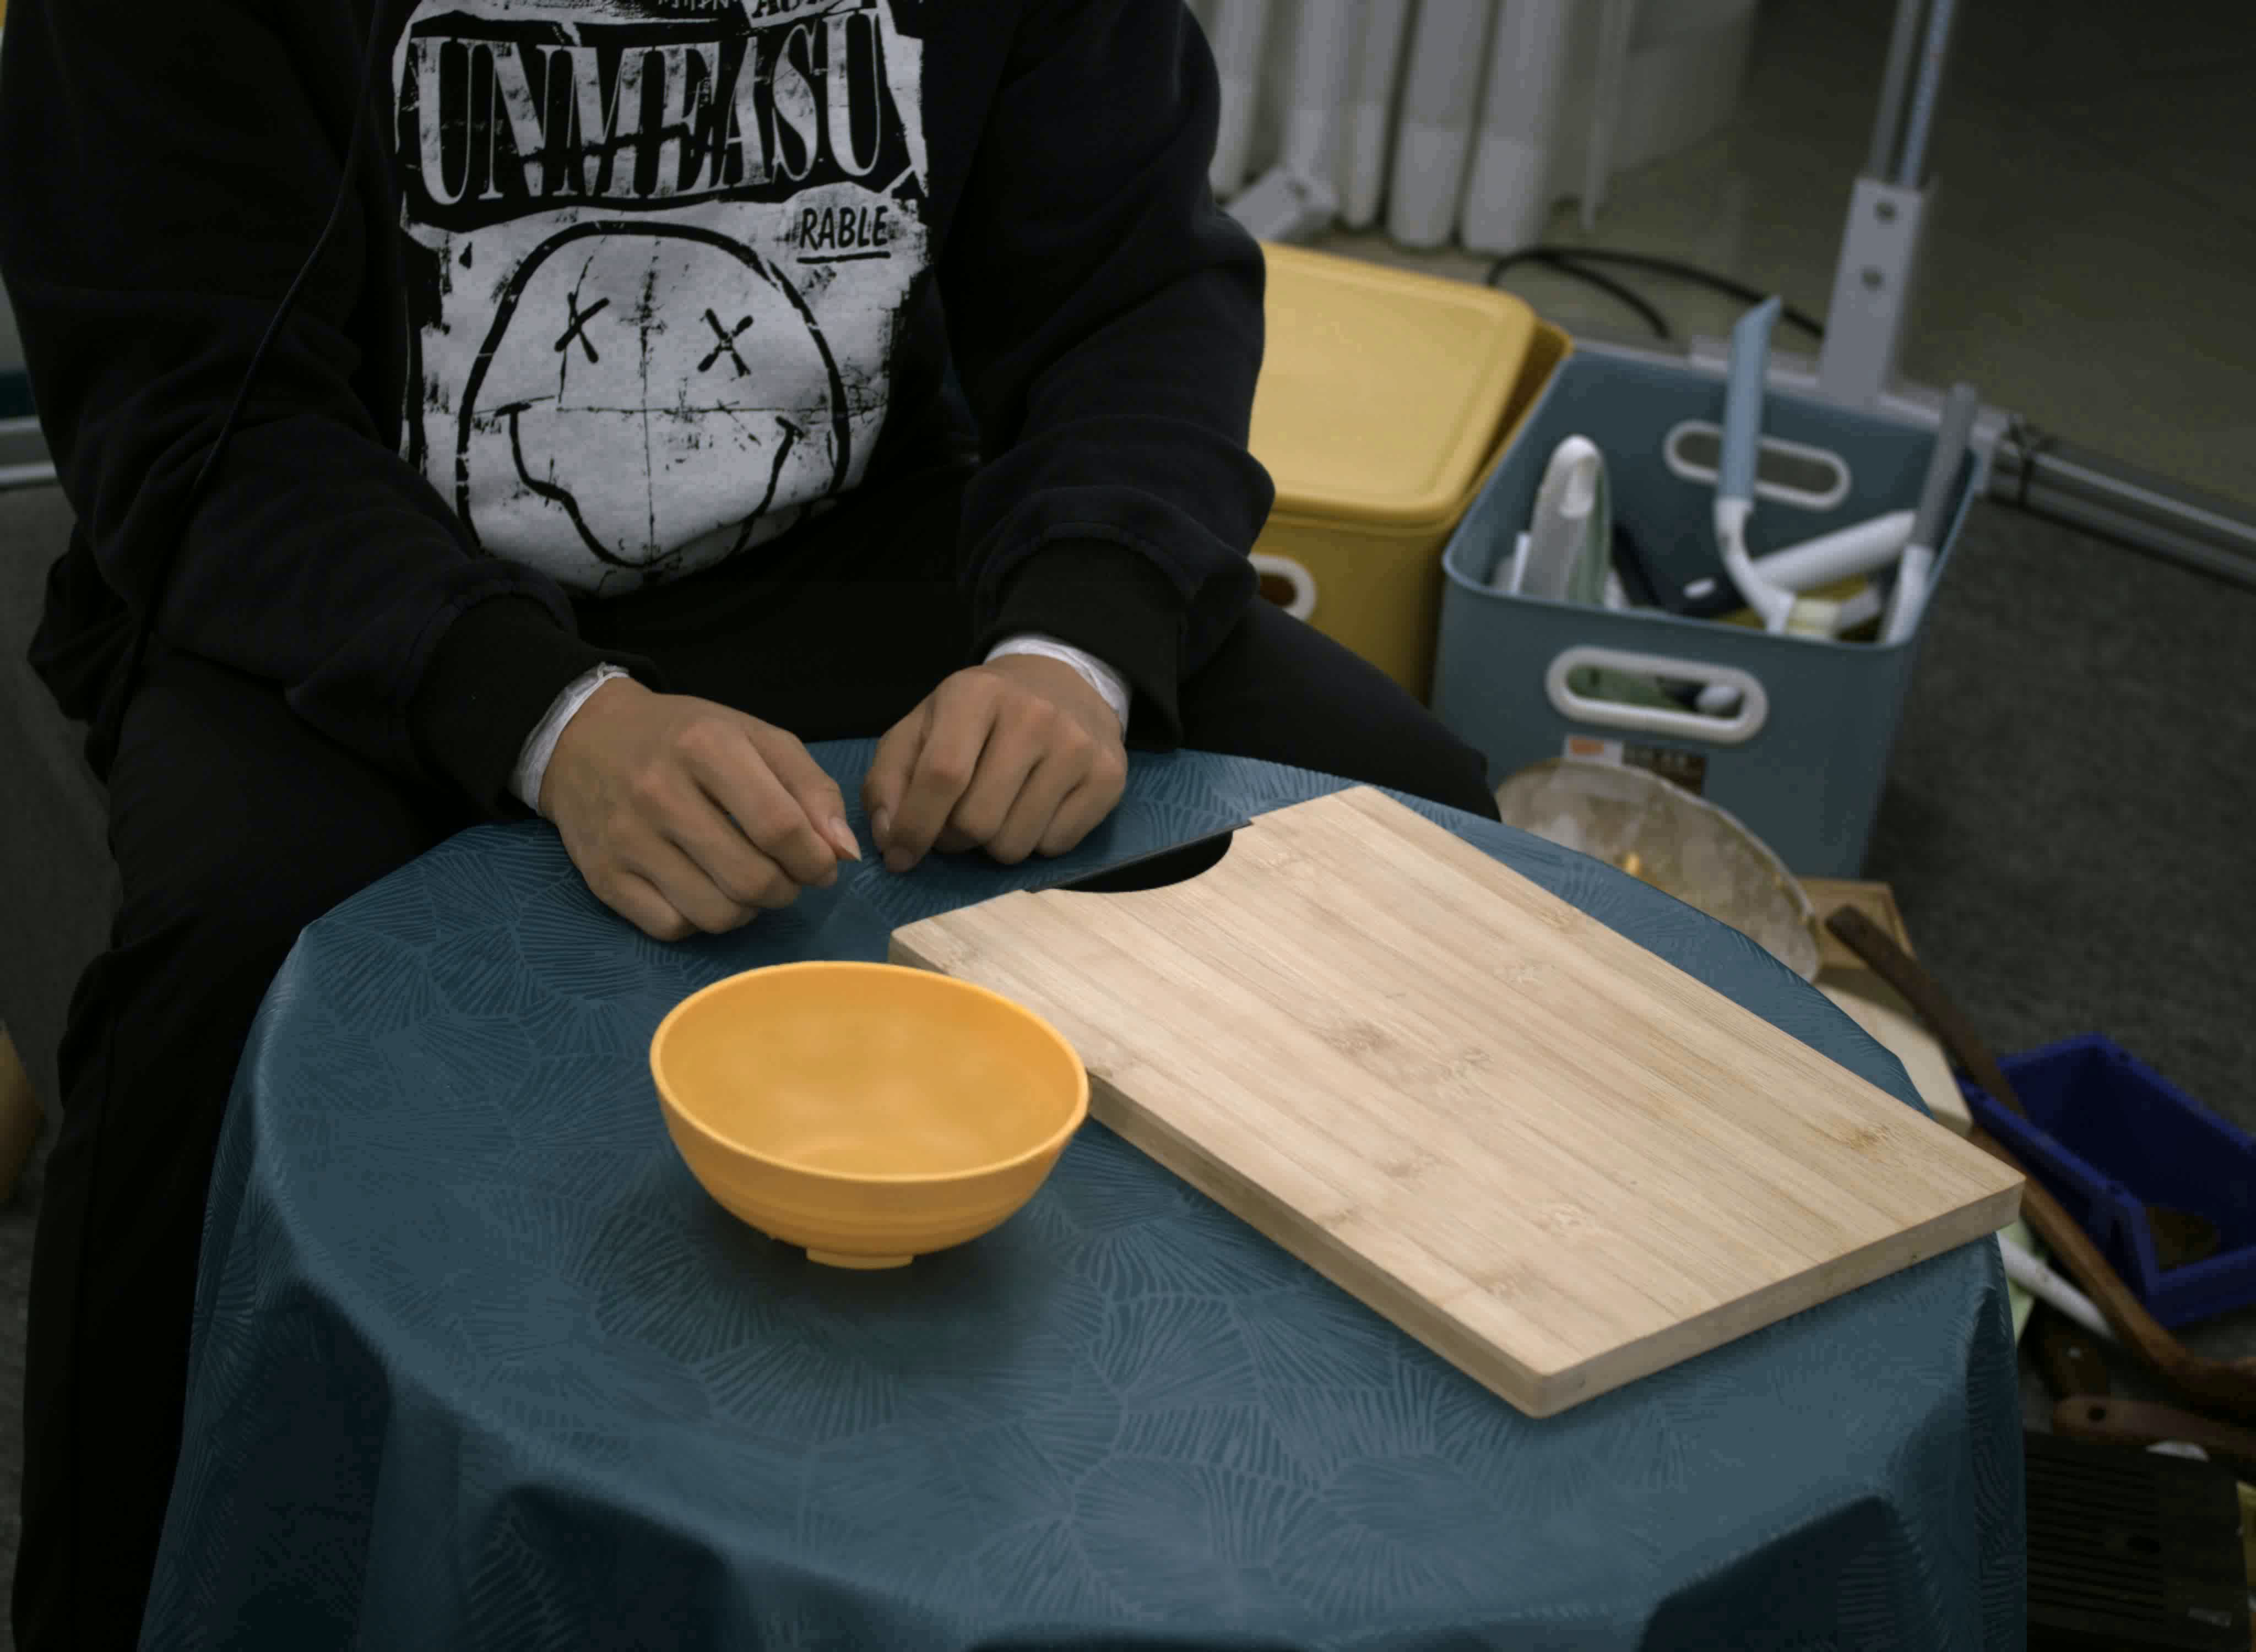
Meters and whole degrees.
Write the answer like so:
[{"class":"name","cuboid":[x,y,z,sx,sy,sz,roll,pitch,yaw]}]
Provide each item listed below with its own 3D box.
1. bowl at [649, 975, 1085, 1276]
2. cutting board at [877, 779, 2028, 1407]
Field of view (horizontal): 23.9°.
[{"class":"bowl","cuboid":[-0.089,0.107,1.753,0.145,0.060,0.146,6,24,-3]},{"class":"cutting board","cuboid":[0.110,0.086,1.882,0.249,0.023,0.351,-17,35,-39]}]
